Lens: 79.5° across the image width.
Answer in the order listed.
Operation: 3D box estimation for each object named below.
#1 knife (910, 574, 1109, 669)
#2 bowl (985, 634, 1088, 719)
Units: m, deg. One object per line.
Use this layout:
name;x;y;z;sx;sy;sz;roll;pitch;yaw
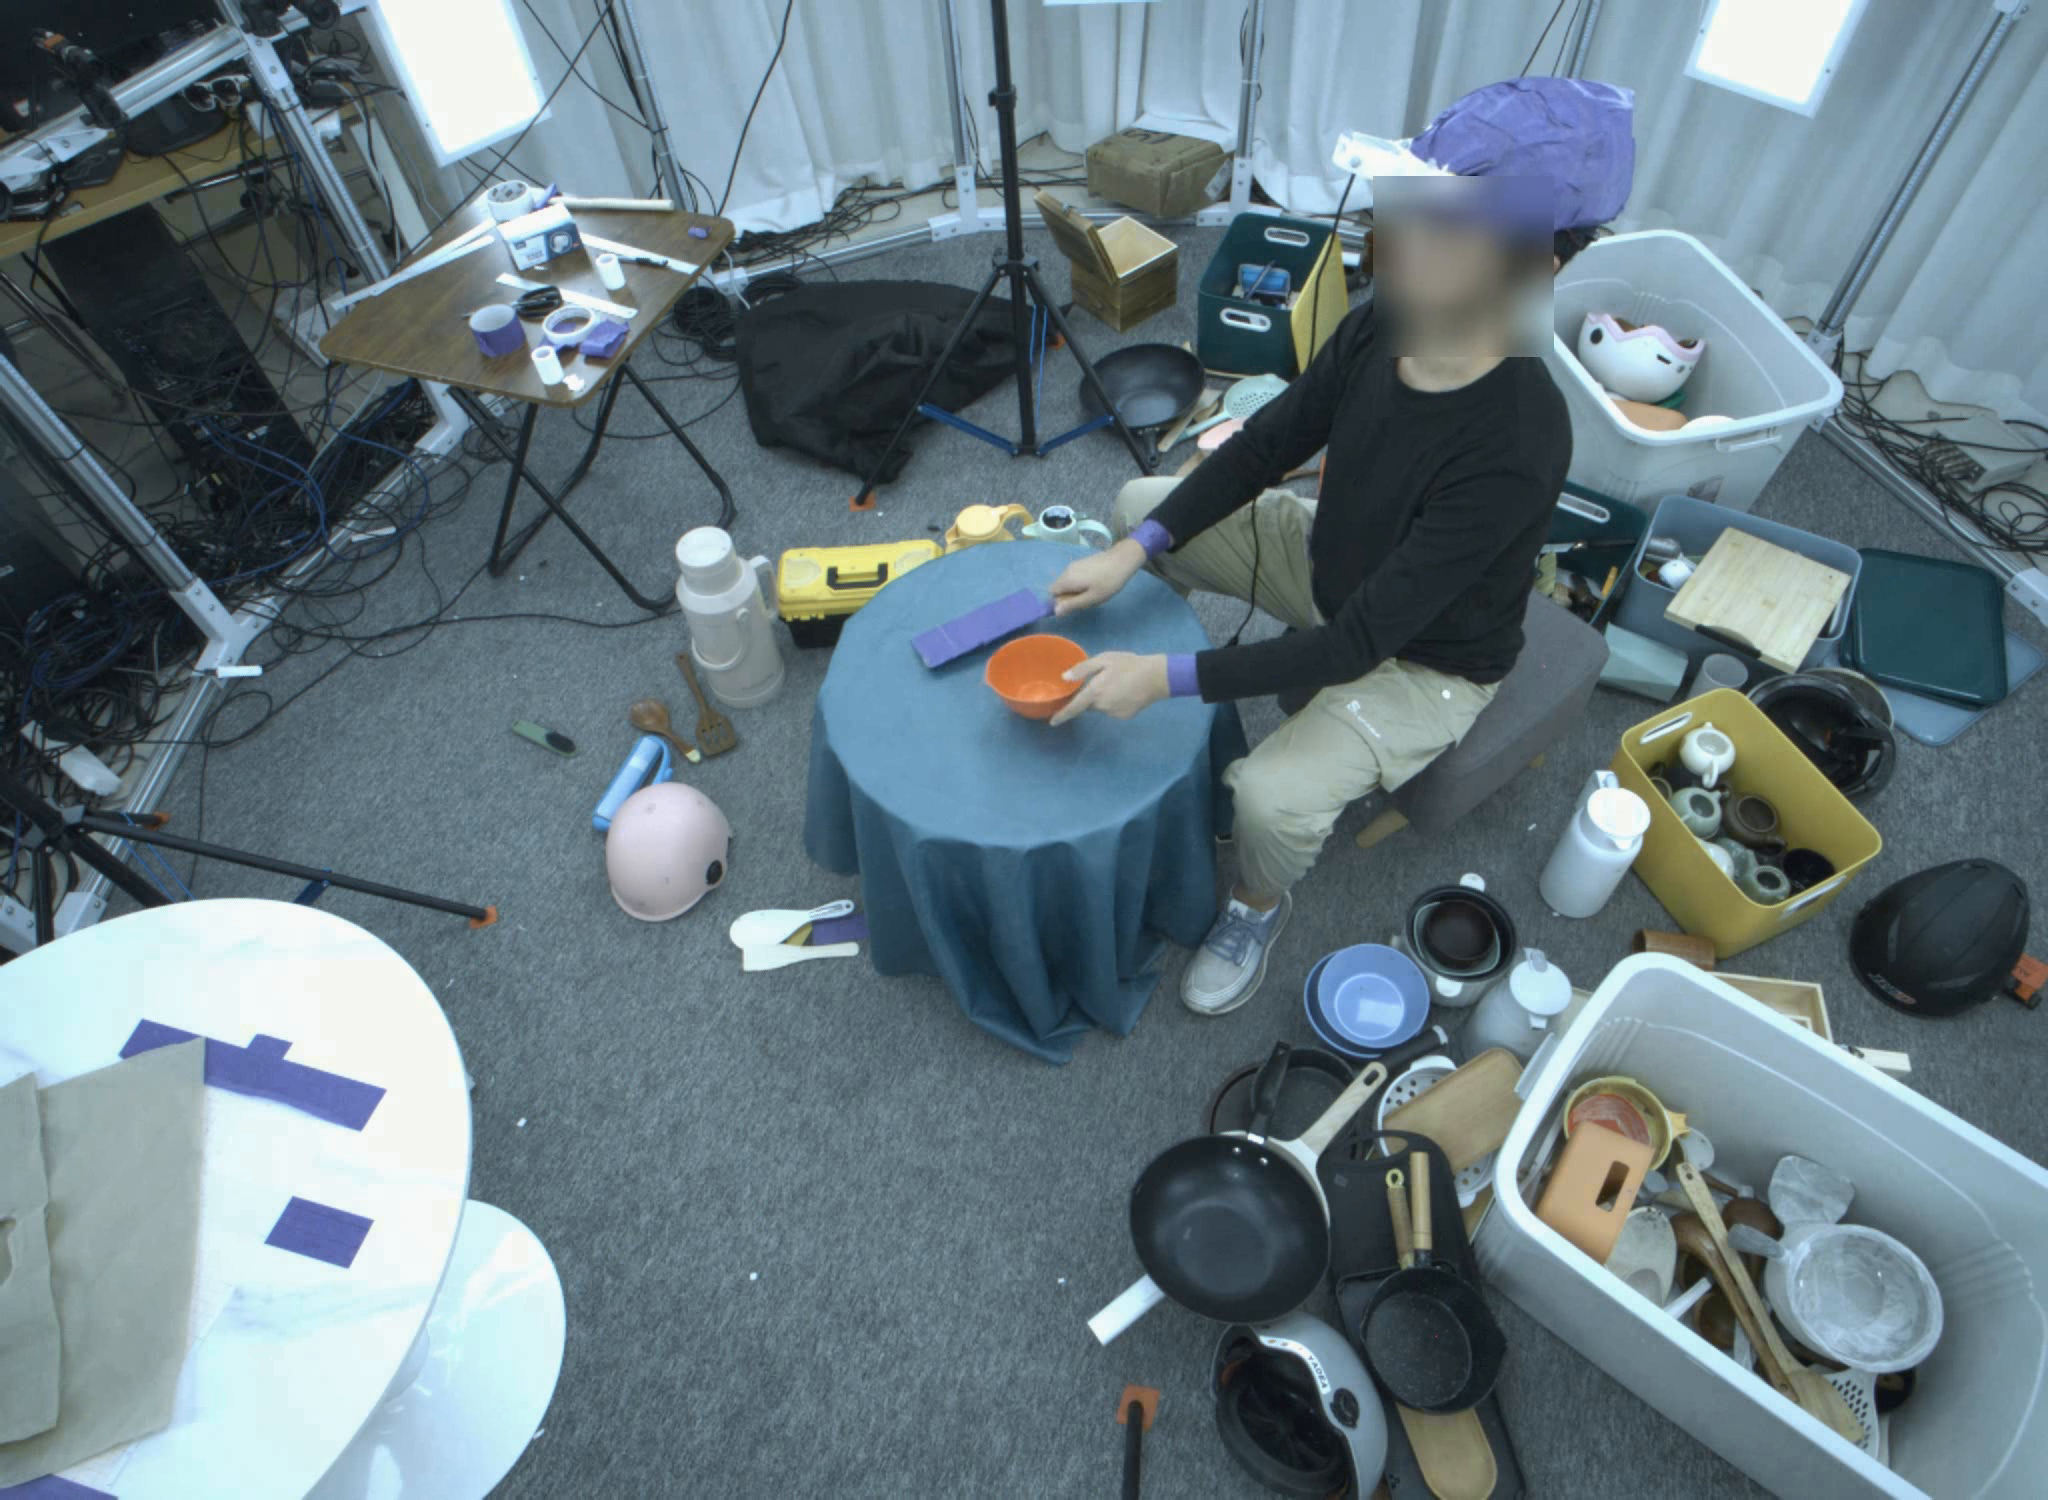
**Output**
knife;-0.026;-0.215;1.902;0.317;0.032;0.101;-24;43;-12
bowl;0.020;-0.093;1.787;0.148;0.106;0.146;-2;54;3
